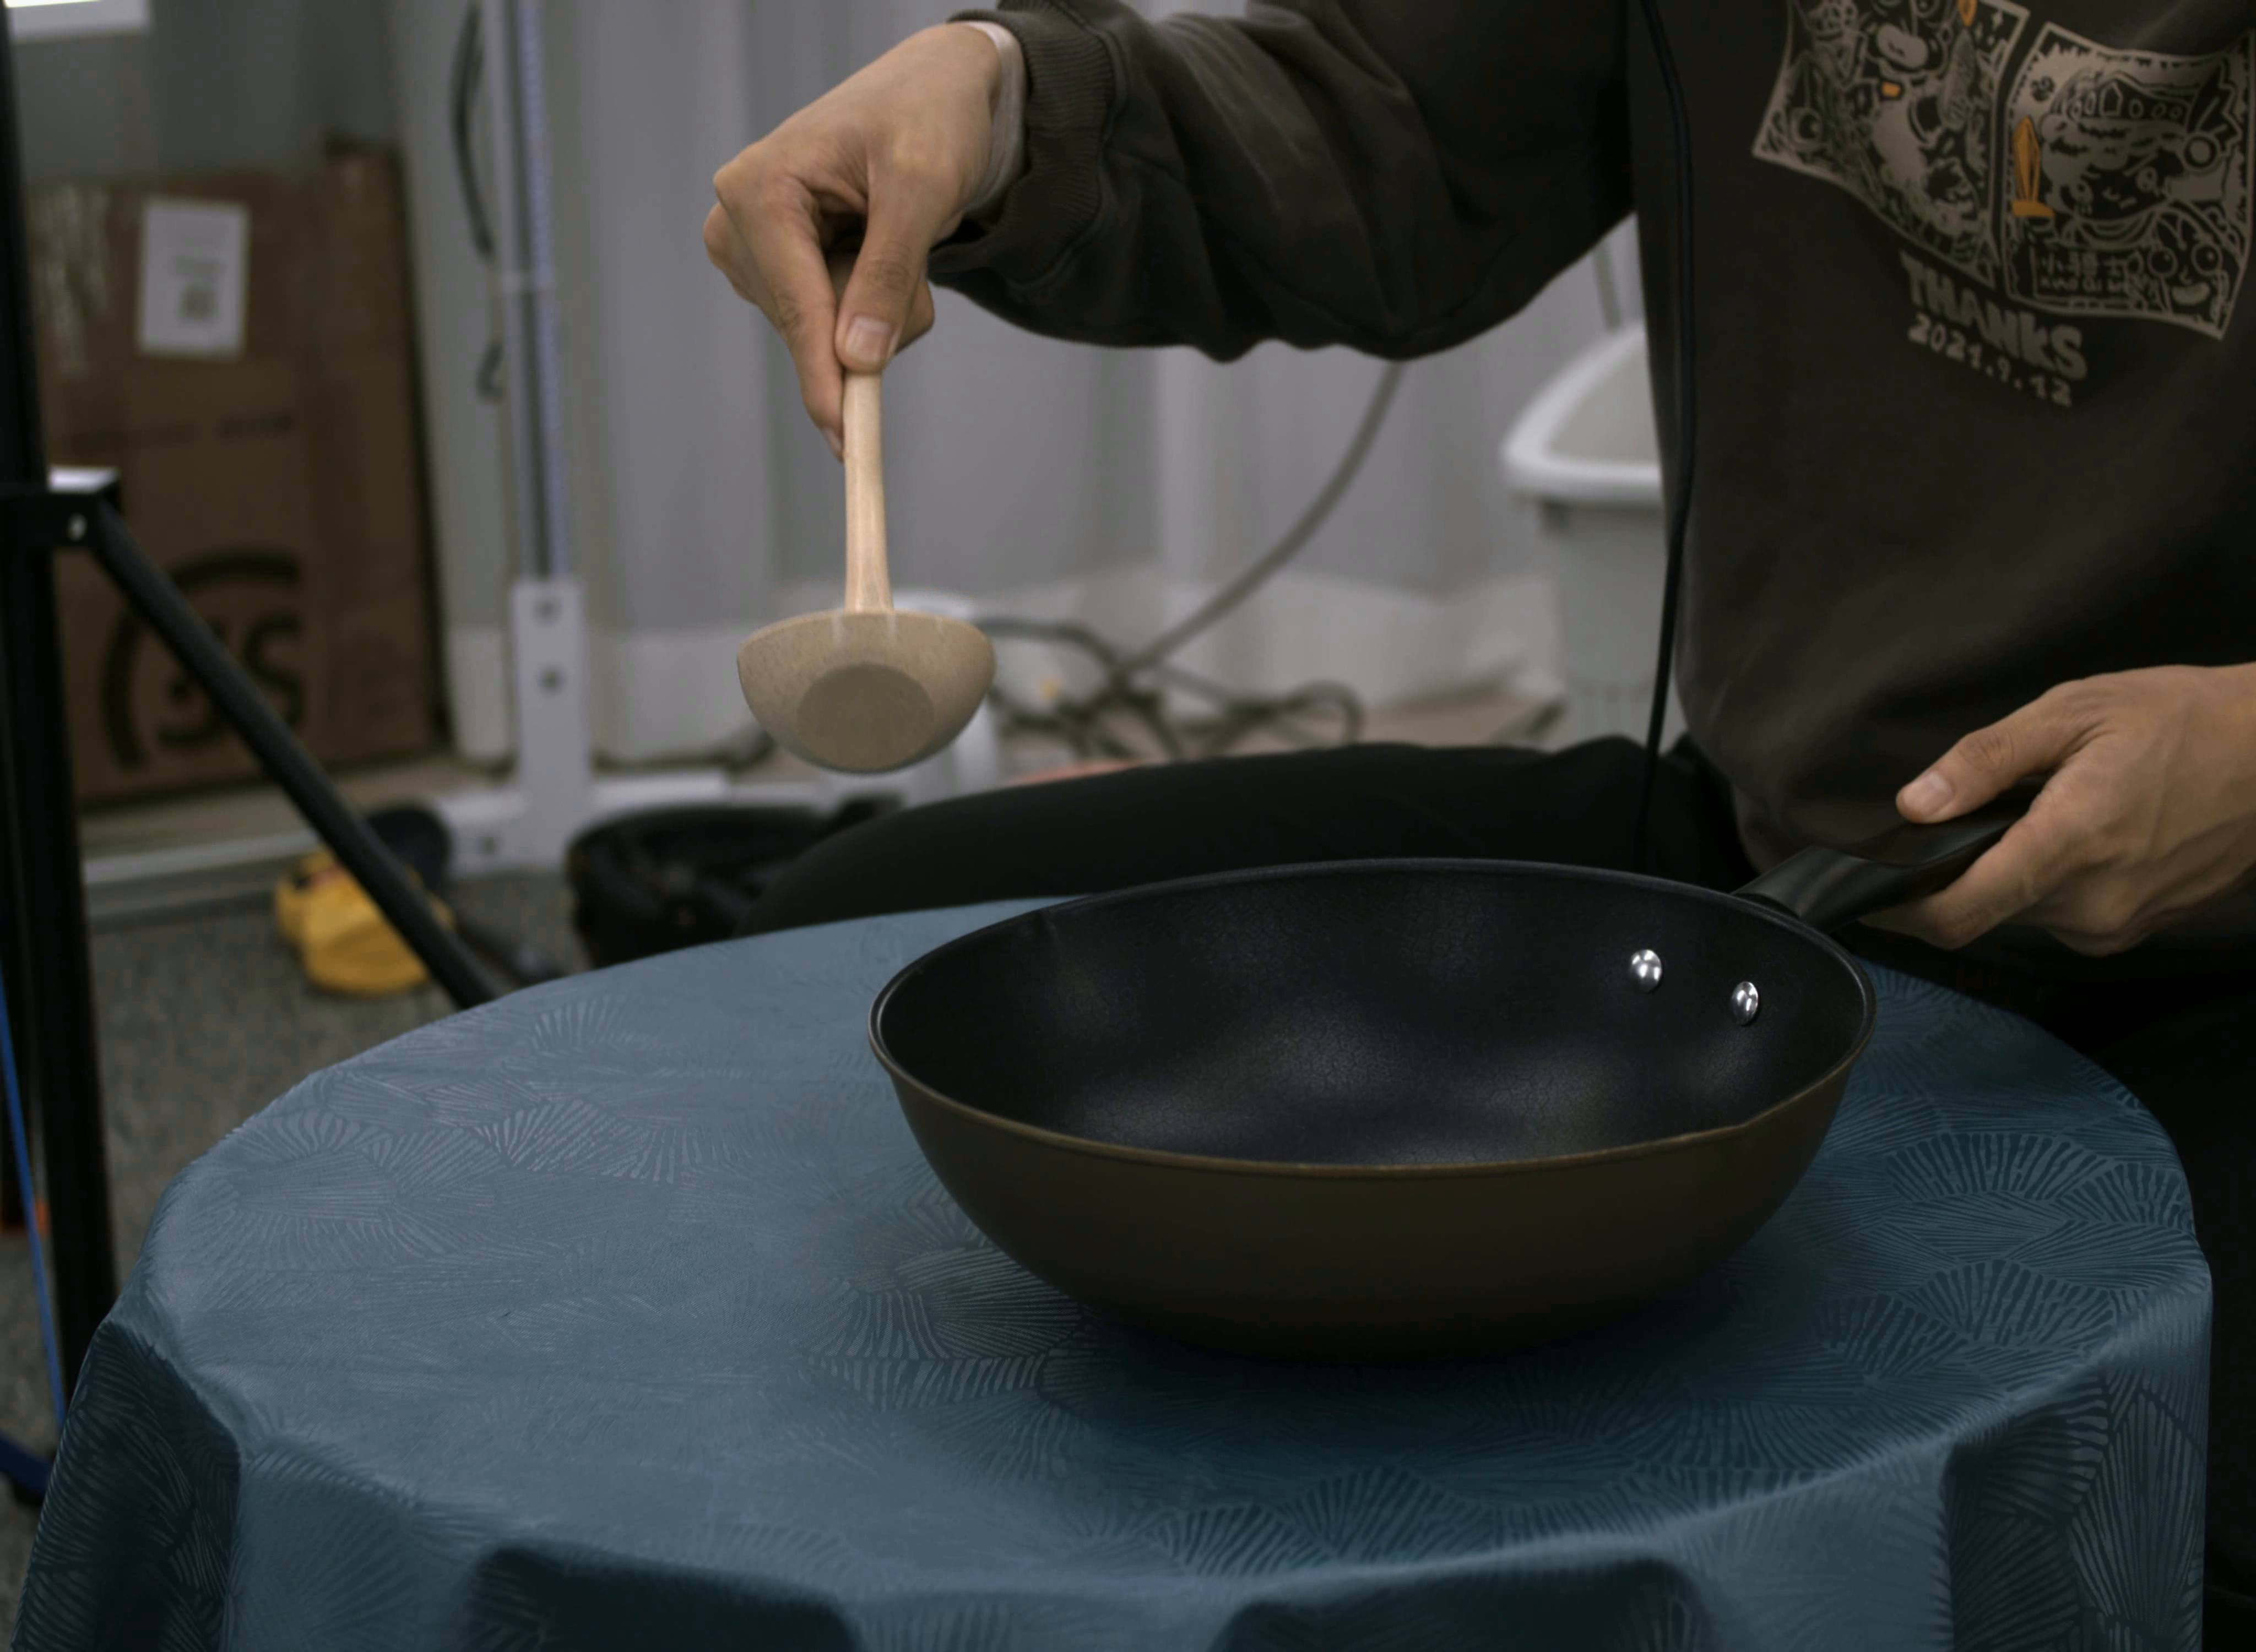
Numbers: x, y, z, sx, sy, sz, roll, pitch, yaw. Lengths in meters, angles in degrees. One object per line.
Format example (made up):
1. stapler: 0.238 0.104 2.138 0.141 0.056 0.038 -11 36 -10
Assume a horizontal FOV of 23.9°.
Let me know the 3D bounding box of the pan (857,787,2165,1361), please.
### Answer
1. pan: 0.135 0.067 1.532 0.452 0.087 0.295 -14 19 -36

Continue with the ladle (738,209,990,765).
1. ladle: -0.084 -0.124 1.579 0.072 0.072 0.258 -8 48 0
